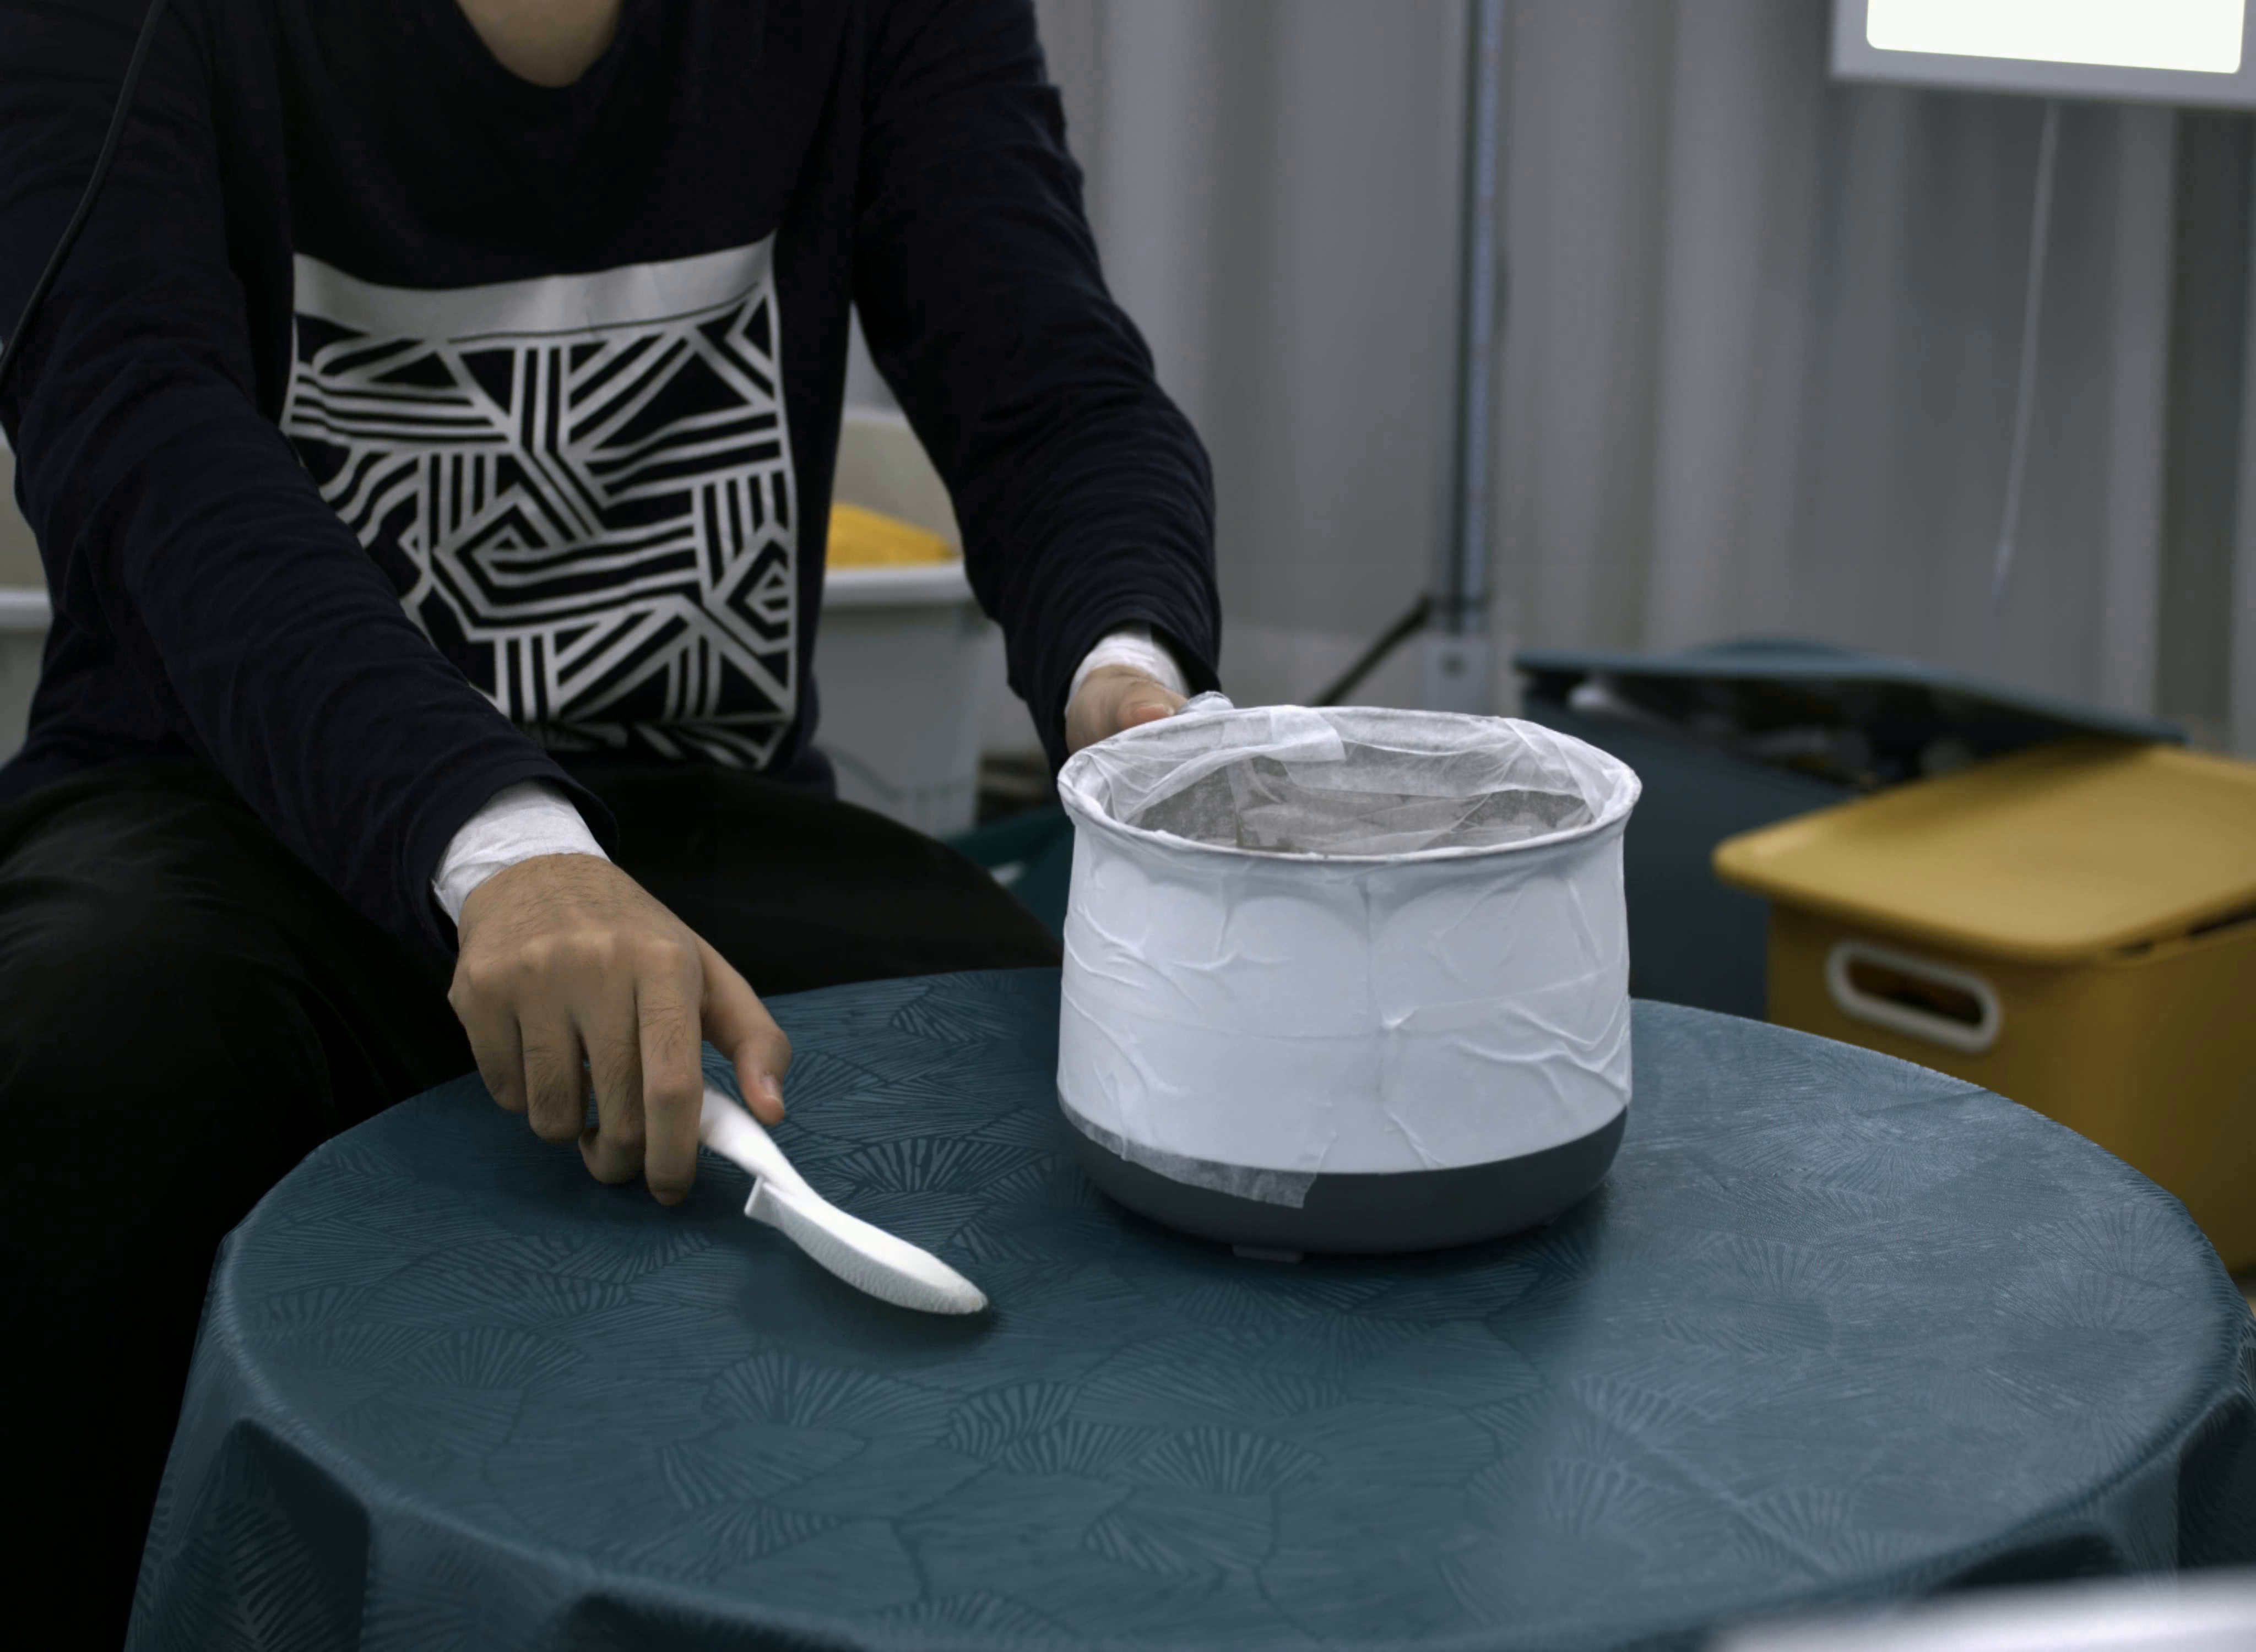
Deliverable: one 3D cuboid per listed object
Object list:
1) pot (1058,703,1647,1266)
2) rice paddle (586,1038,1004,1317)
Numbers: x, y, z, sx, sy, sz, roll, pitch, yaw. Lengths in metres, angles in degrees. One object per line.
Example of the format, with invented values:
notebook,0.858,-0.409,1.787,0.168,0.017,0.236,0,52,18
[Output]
pot,0.056,0.043,1.634,0.179,0.137,0.231,-5,15,-25
rice paddle,-0.101,0.106,1.567,0.069,0.029,0.202,26,-1,-37
